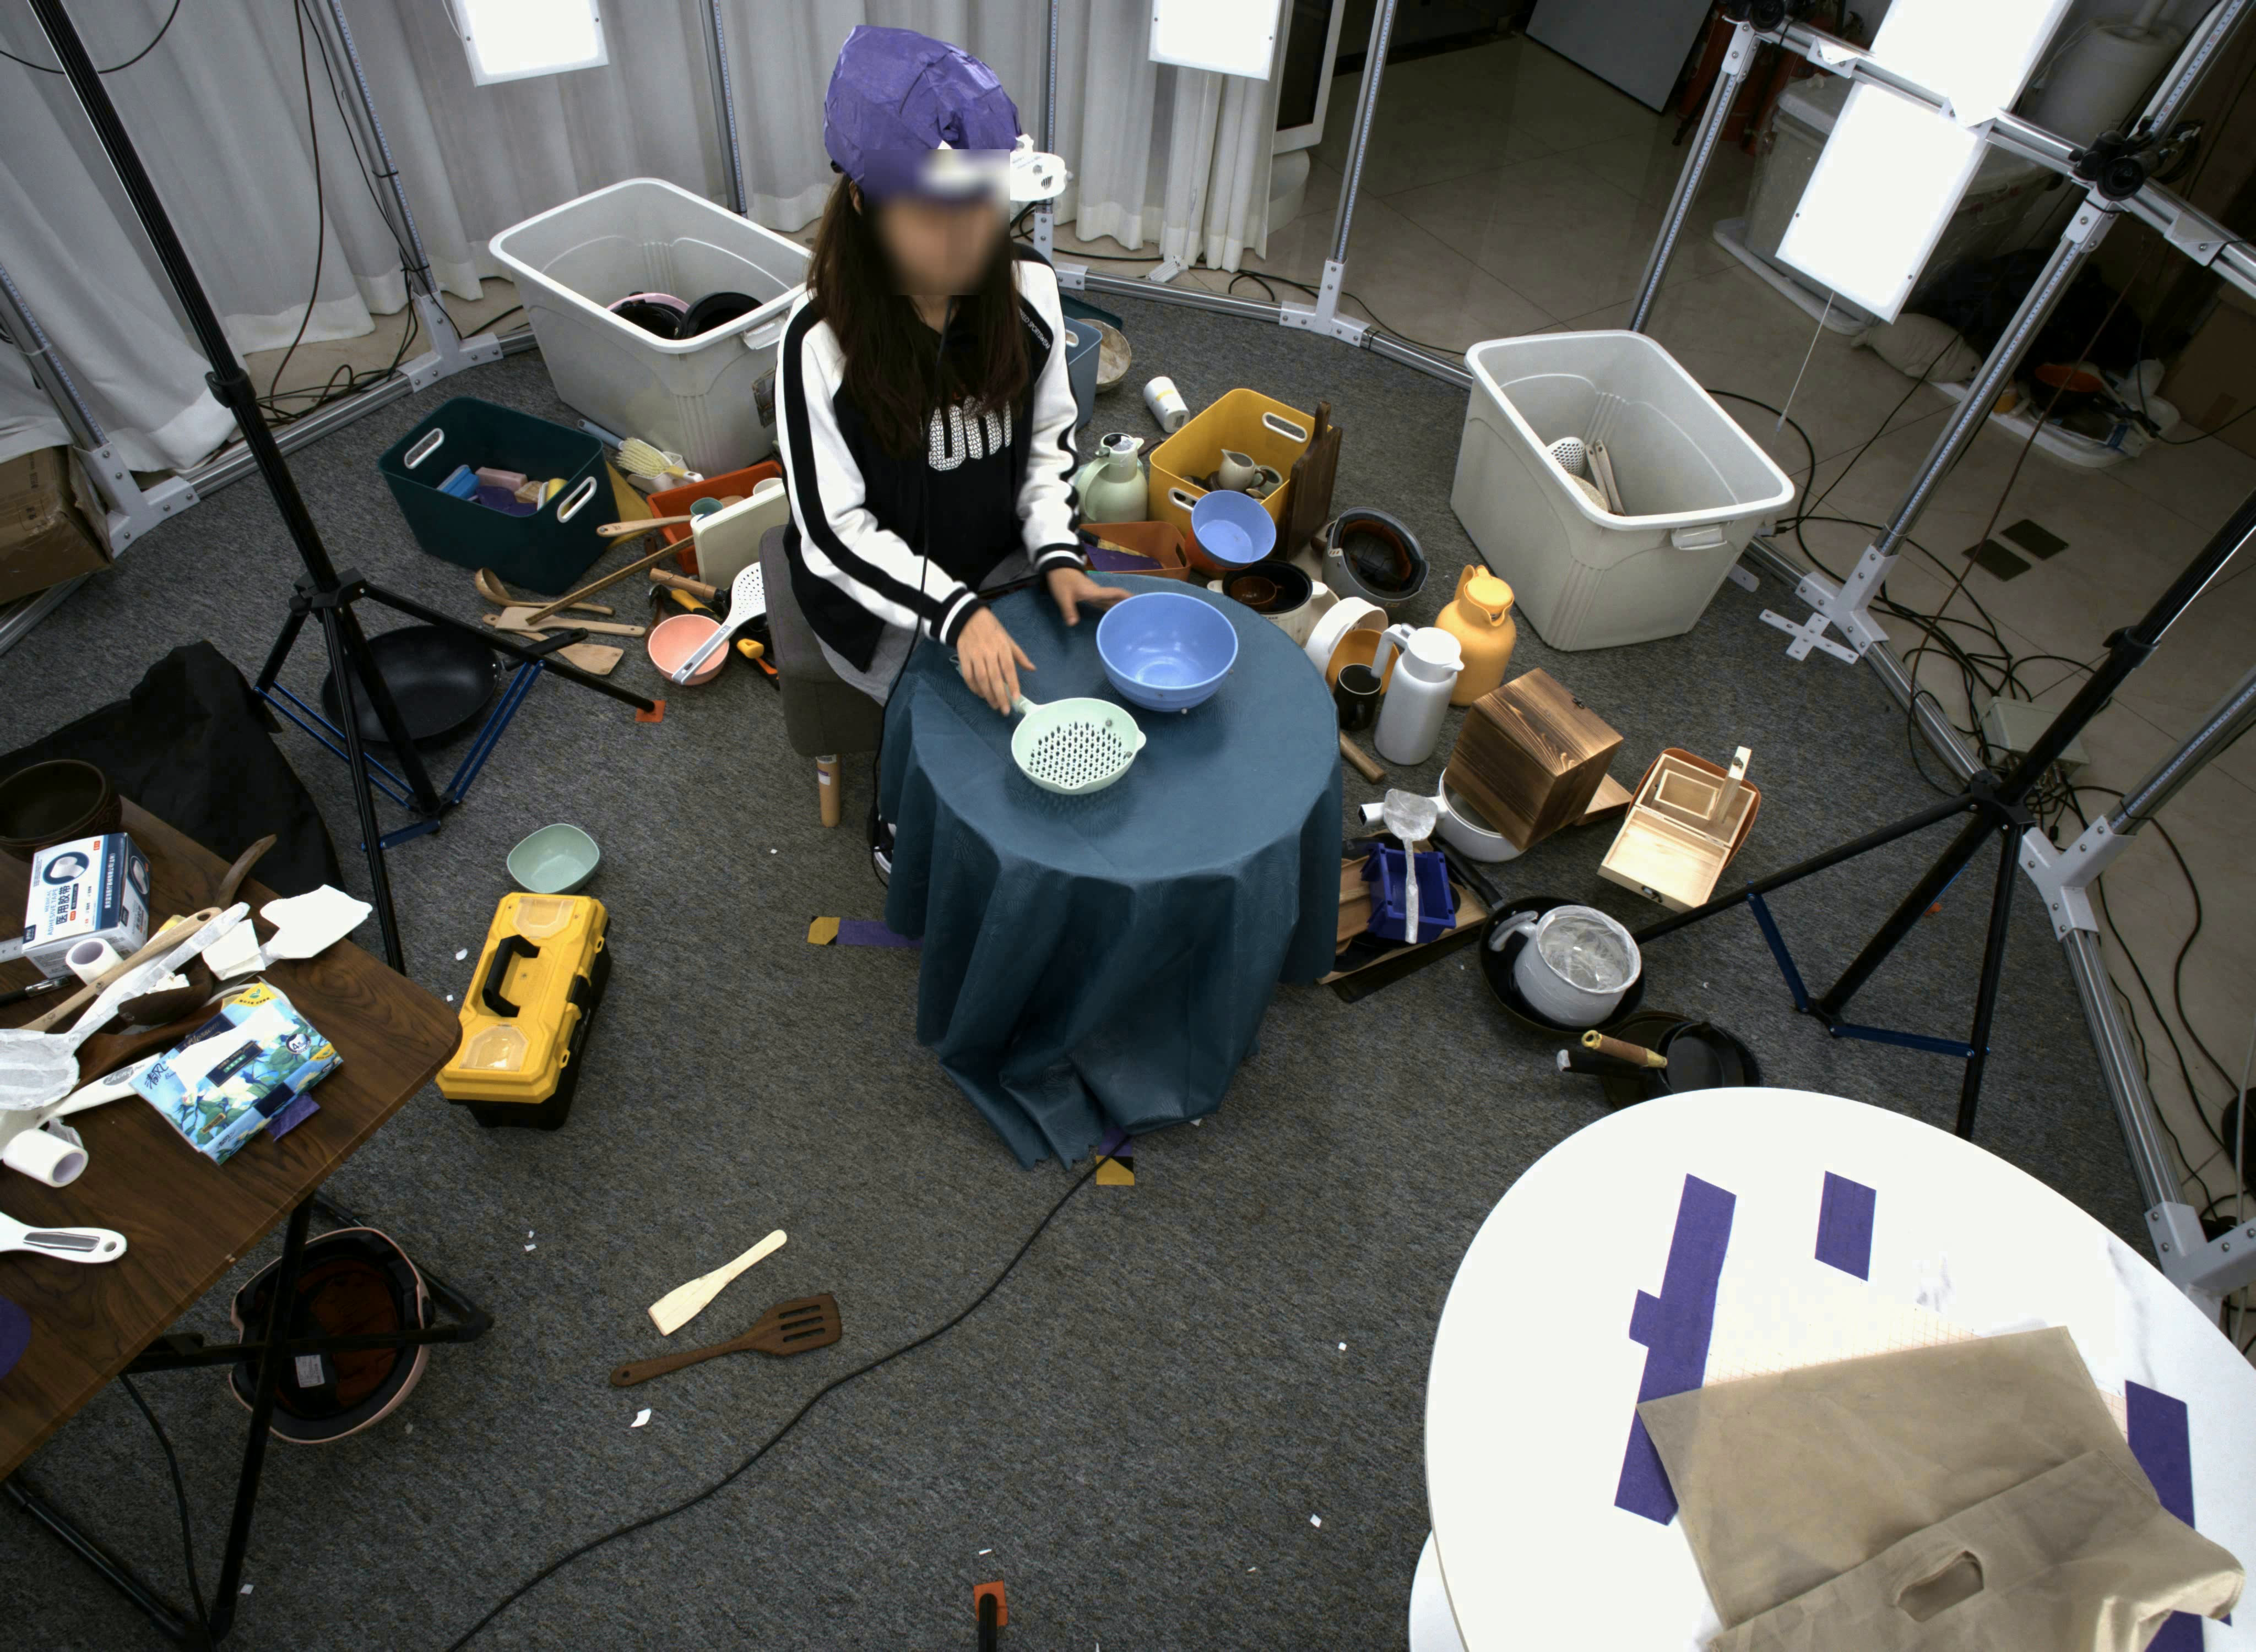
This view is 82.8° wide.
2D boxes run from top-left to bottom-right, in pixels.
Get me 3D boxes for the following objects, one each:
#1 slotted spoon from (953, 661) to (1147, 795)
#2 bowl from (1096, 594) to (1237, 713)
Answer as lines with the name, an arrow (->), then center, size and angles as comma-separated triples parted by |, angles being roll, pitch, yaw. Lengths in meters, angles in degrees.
slotted spoon -> -0.132, -0.153, 1.756 | 0.170, 0.073, 0.365 | -32, 57, -27
bowl -> 0.051, -0.229, 1.811 | 0.196, 0.093, 0.201 | 1, 49, -2
